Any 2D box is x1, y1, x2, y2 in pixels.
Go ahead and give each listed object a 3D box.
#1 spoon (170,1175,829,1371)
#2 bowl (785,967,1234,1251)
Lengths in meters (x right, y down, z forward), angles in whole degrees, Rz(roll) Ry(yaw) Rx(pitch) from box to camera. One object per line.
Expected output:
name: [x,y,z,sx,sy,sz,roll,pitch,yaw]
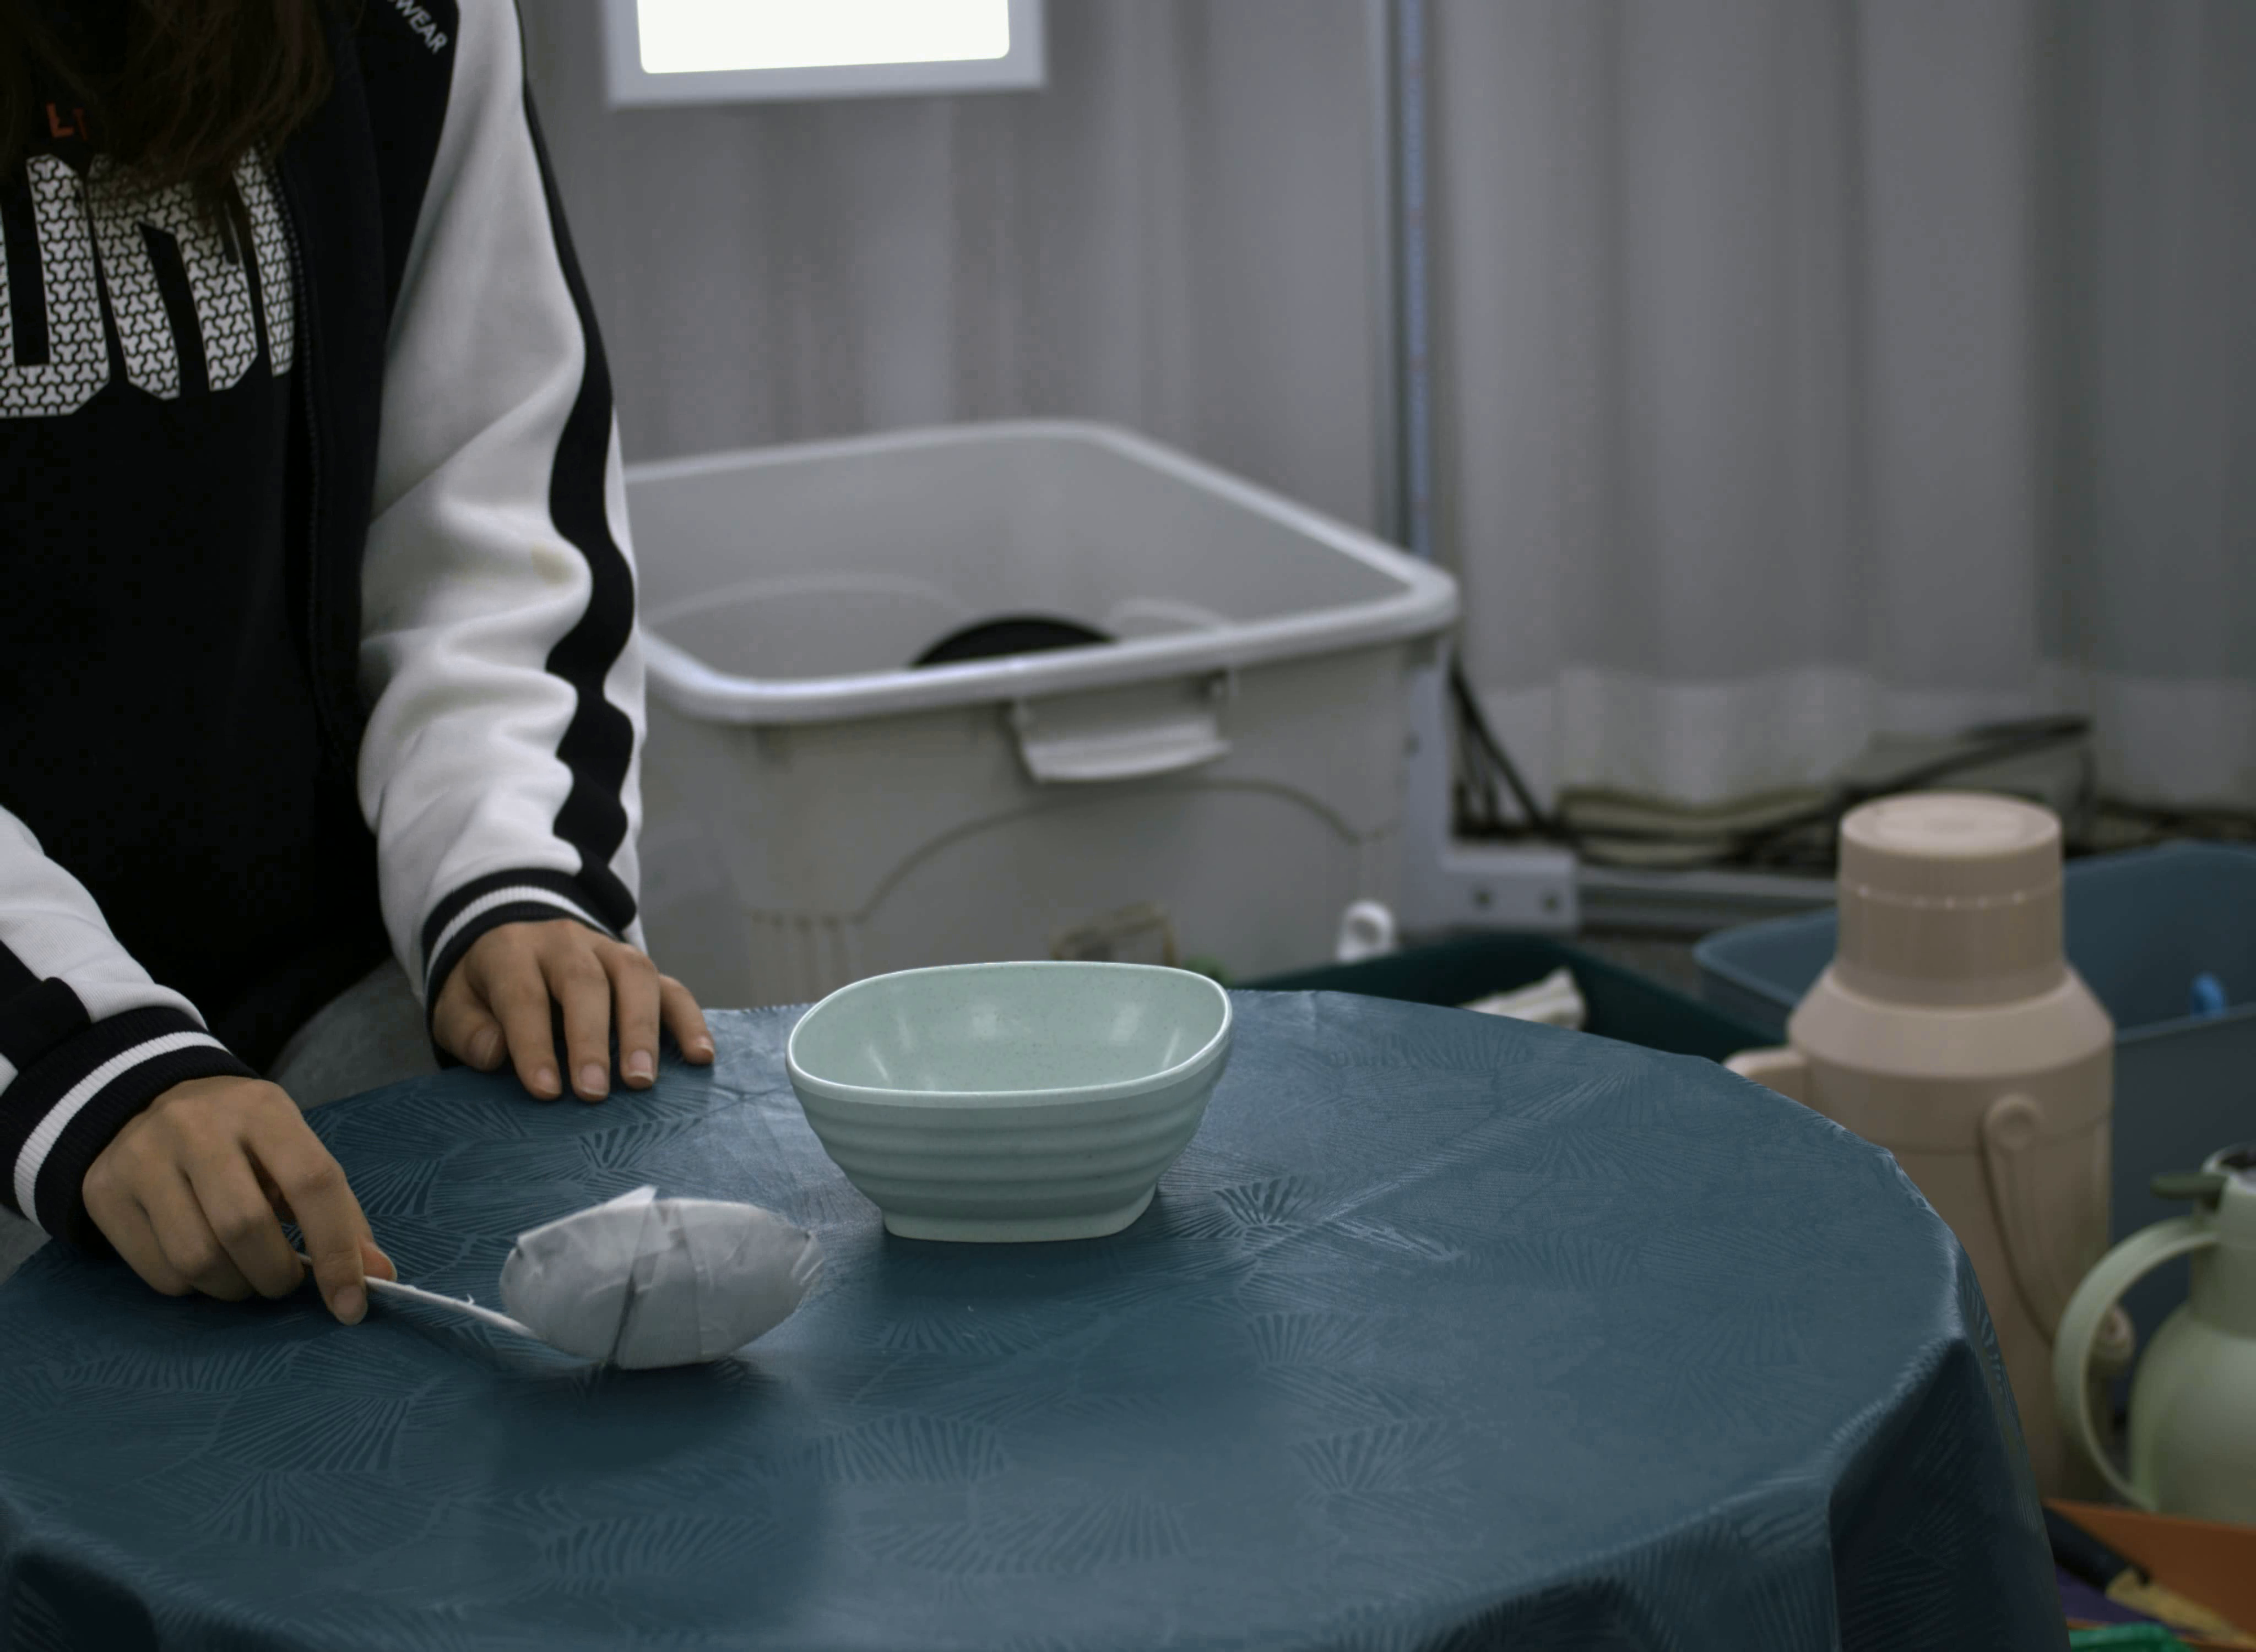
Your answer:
spoon: [-0.195,0.120,1.634,0.279,0.060,0.099,8,-22,49]
bowl: [-0.035,0.091,1.706,0.151,0.058,0.152,-3,15,0]
